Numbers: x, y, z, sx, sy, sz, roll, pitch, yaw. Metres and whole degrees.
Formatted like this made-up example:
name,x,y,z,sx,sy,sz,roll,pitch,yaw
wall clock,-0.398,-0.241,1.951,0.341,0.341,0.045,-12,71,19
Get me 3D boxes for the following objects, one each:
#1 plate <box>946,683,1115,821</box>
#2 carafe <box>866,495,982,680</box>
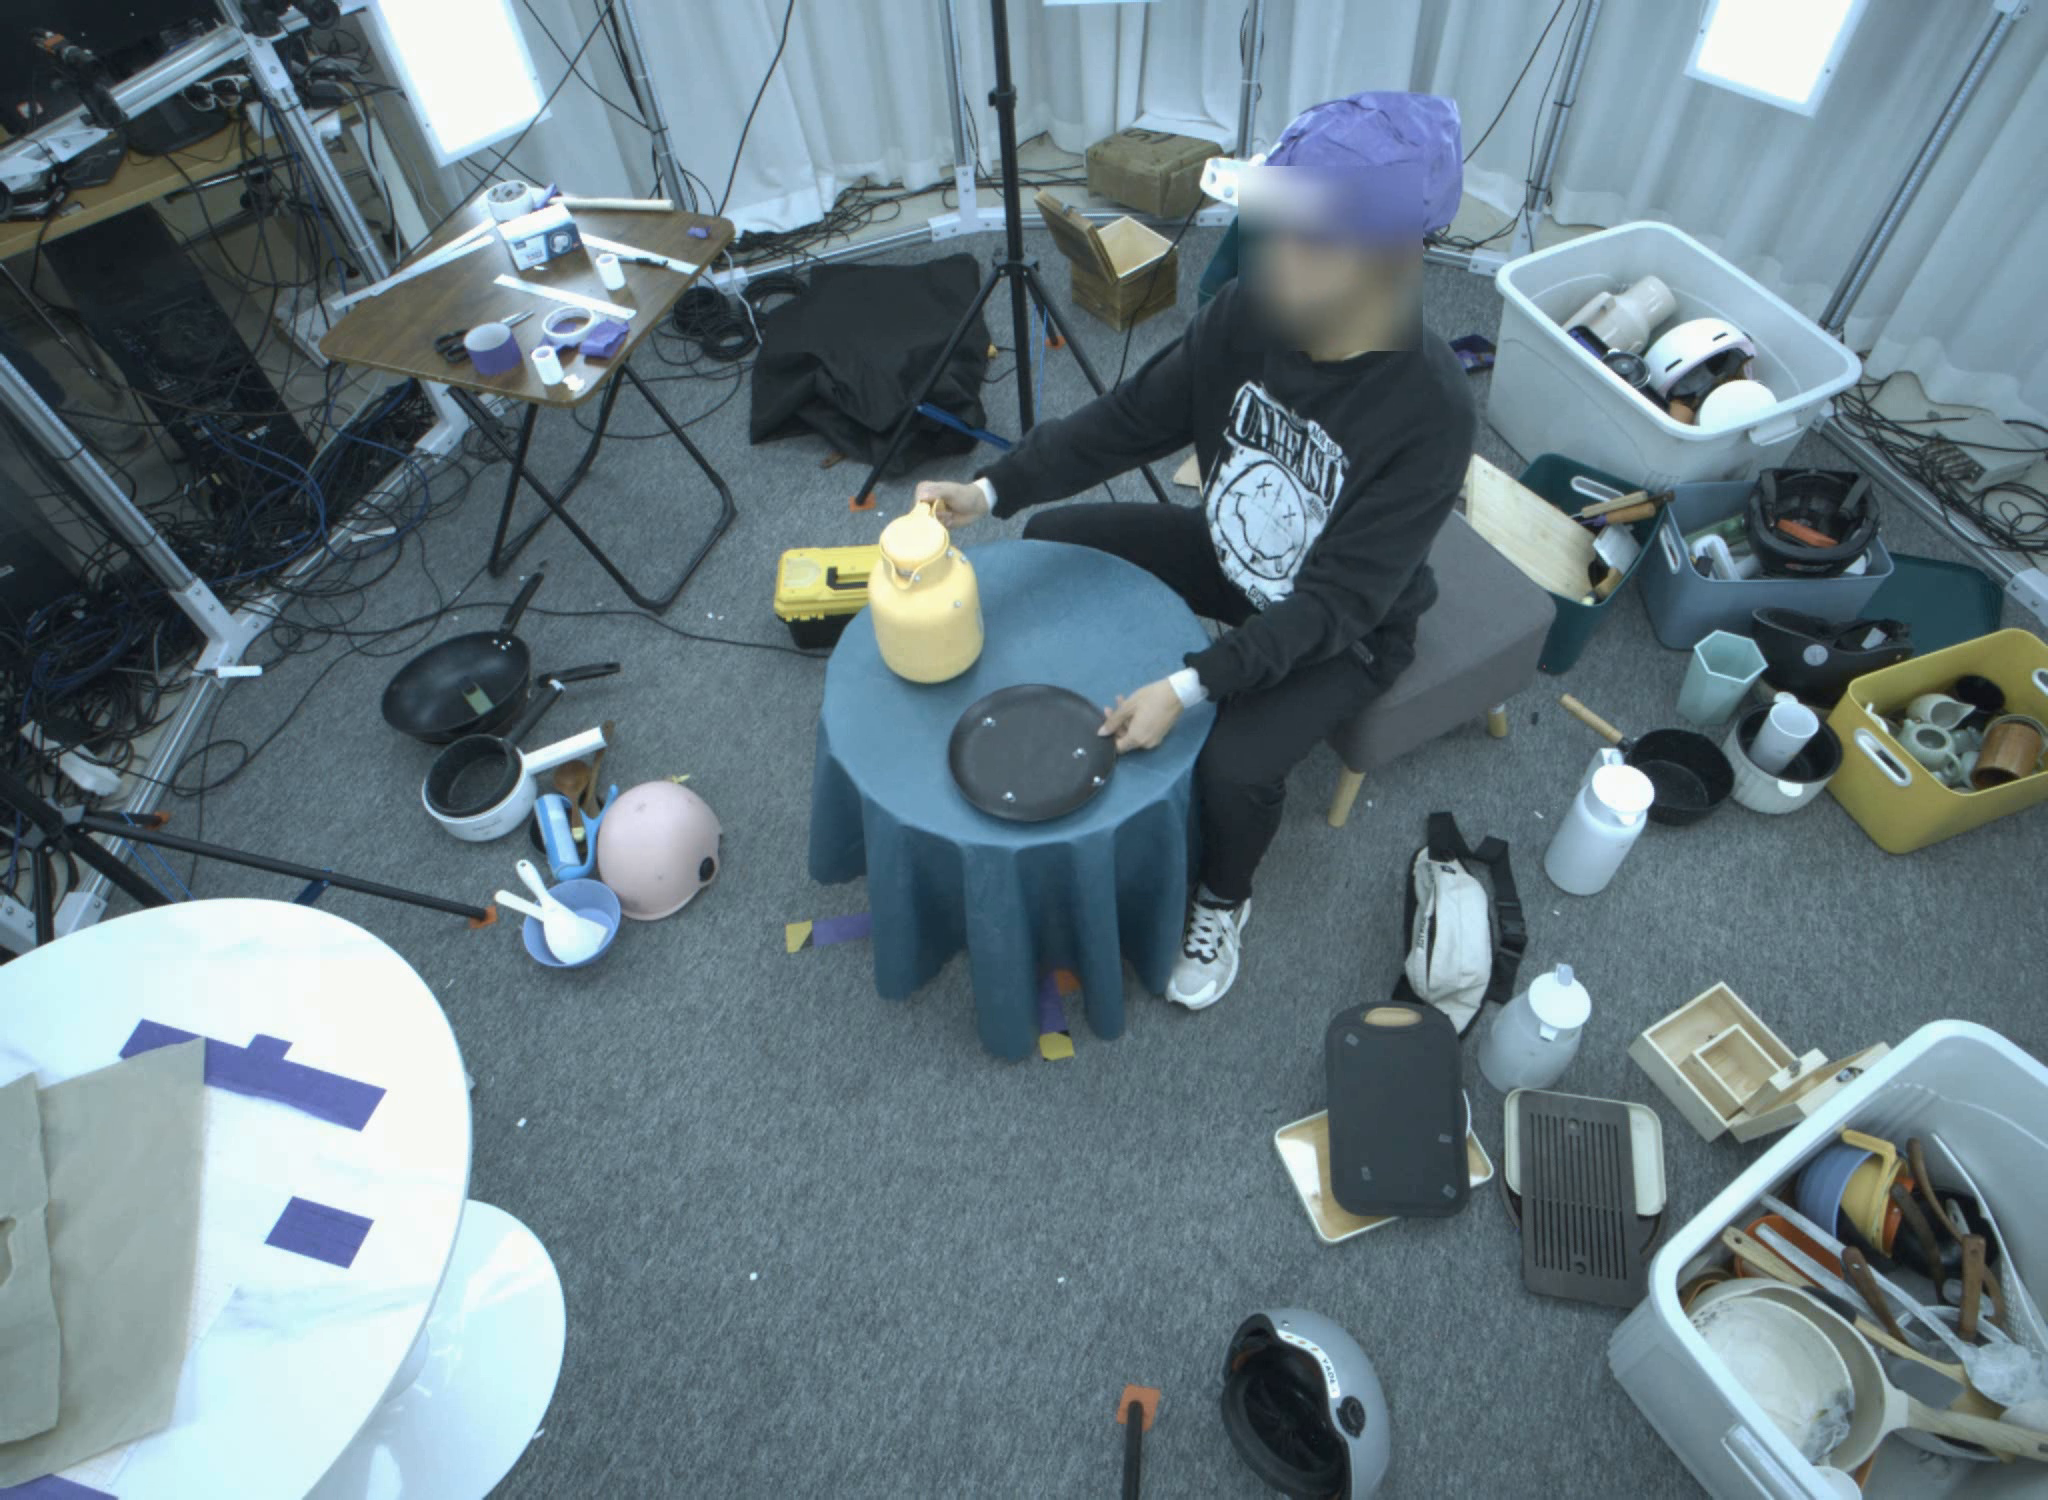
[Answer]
name,x,y,z,sx,sy,sz,roll,pitch,yaw
plate,0.009,0.004,1.765,0.244,0.024,0.242,0,55,2
carafe,-0.144,-0.244,1.796,0.162,0.263,0.201,11,60,7
